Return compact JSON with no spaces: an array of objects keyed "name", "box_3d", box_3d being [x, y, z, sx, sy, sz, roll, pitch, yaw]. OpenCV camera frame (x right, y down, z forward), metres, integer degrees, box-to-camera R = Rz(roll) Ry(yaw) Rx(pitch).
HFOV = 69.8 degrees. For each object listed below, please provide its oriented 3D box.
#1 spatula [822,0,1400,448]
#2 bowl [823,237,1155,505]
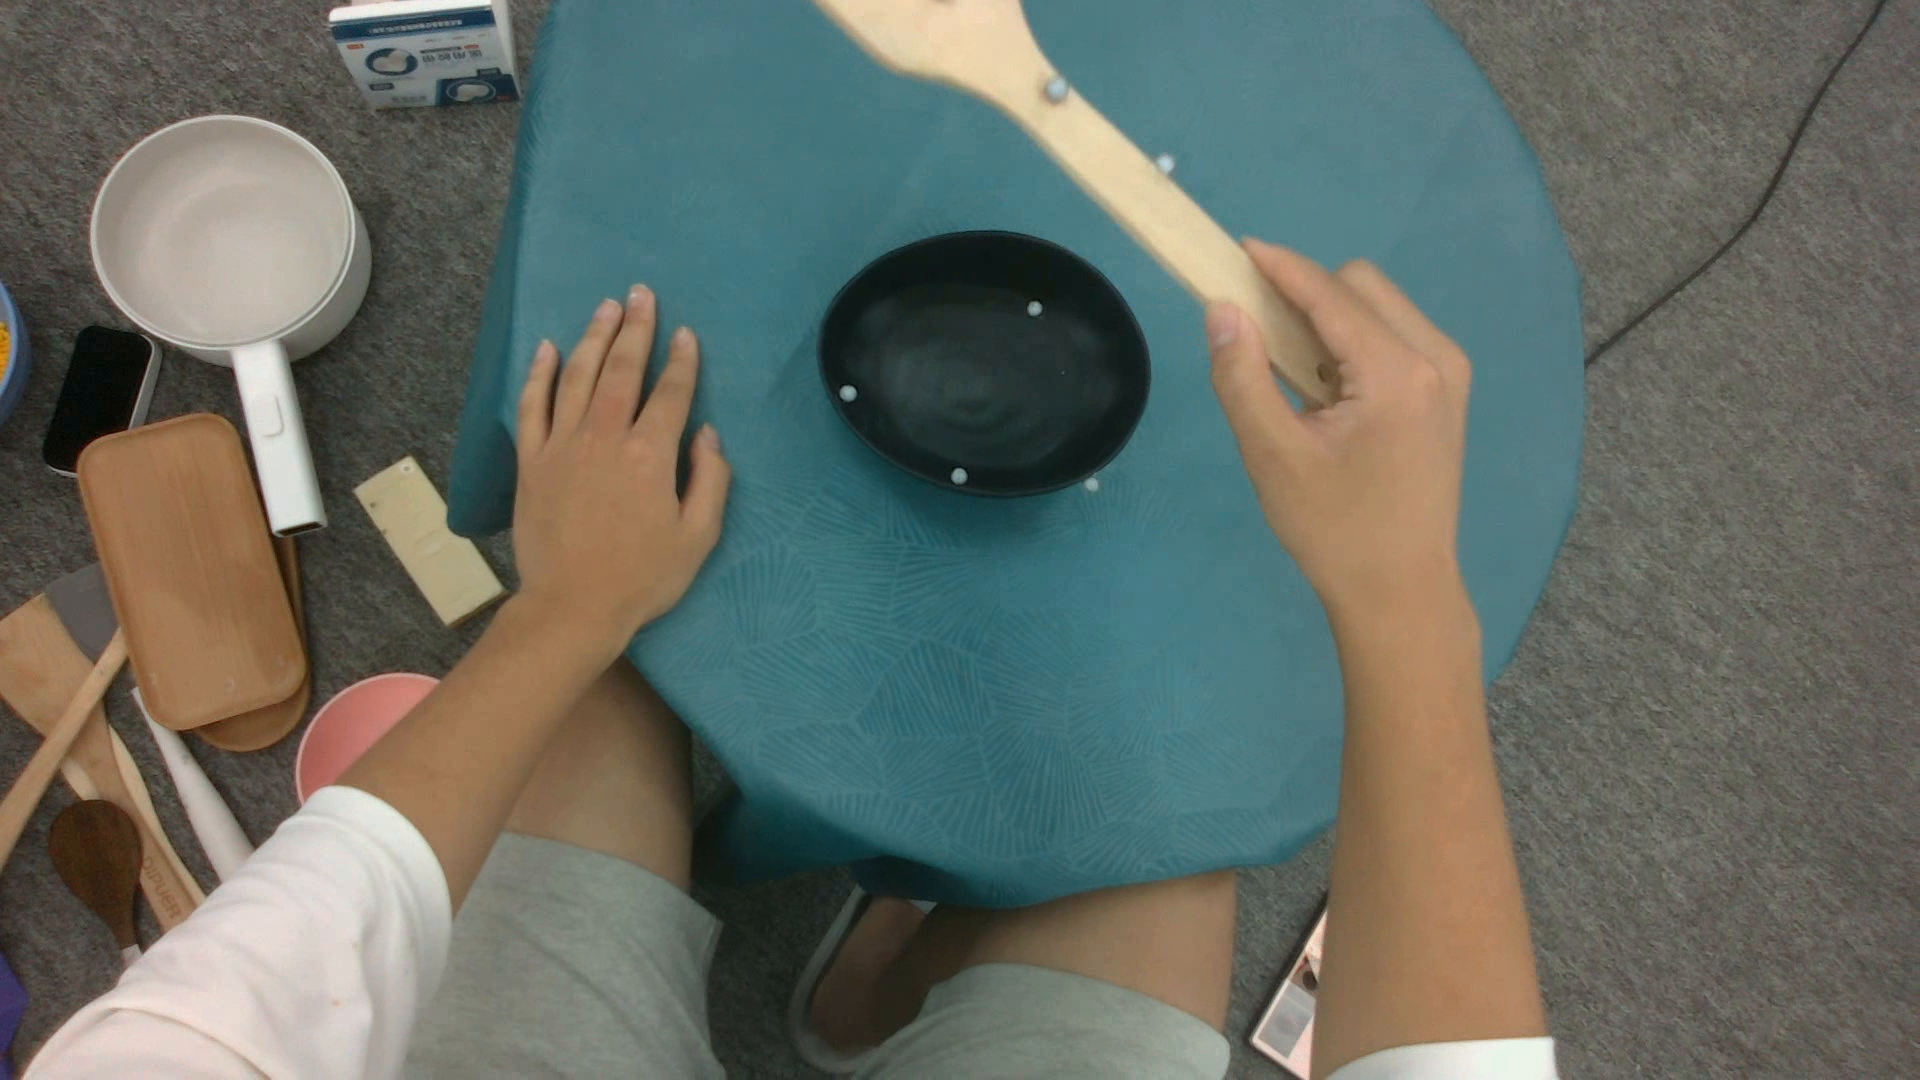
[{"name":"spatula","box_3d":[0.051,-0.139,0.490,0.293,0.010,0.072,43,69,-6]},{"name":"bowl","box_3d":[0.013,-0.082,0.720,0.170,0.066,0.137,5,81,-6]}]
